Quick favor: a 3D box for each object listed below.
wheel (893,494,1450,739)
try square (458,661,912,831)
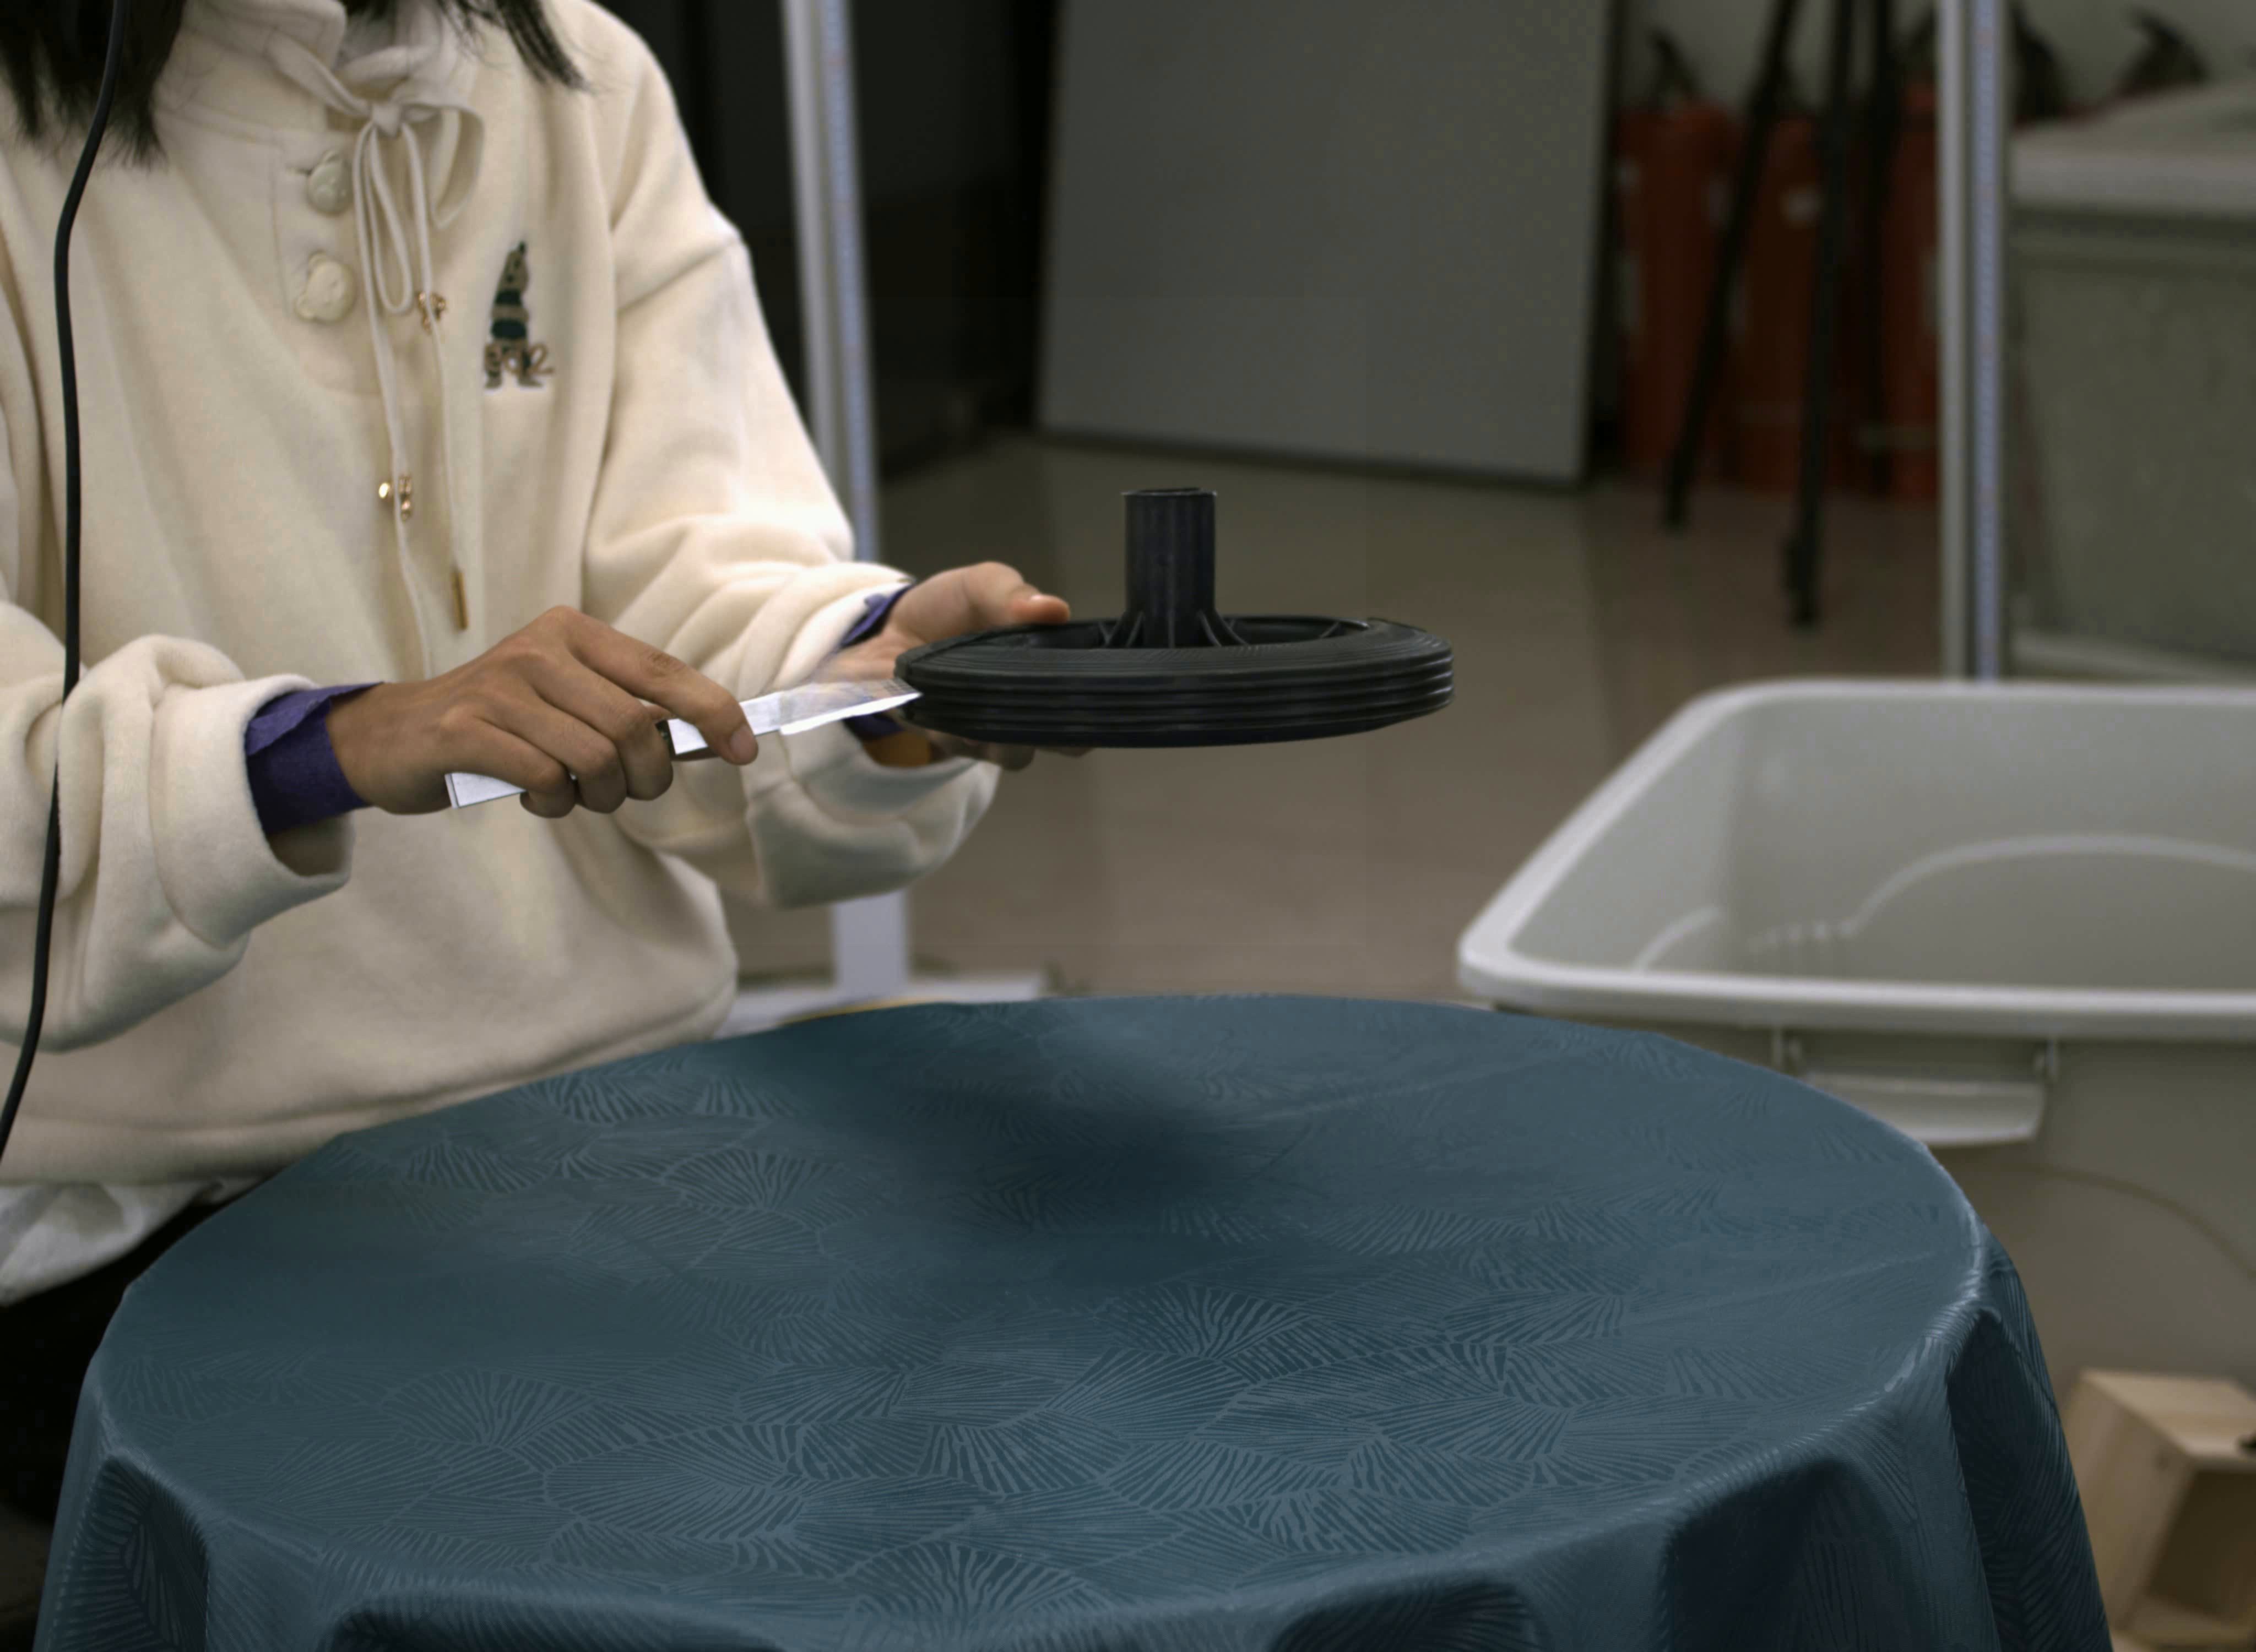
[{"bbox_3d":[0.014,-0.069,1.787,0.187,0.080,0.188,0,5,17],"label":"wheel"},{"bbox_3d":[-0.137,-0.024,1.616,0.150,0.016,0.313,-18,2,-2],"label":"try square"}]
